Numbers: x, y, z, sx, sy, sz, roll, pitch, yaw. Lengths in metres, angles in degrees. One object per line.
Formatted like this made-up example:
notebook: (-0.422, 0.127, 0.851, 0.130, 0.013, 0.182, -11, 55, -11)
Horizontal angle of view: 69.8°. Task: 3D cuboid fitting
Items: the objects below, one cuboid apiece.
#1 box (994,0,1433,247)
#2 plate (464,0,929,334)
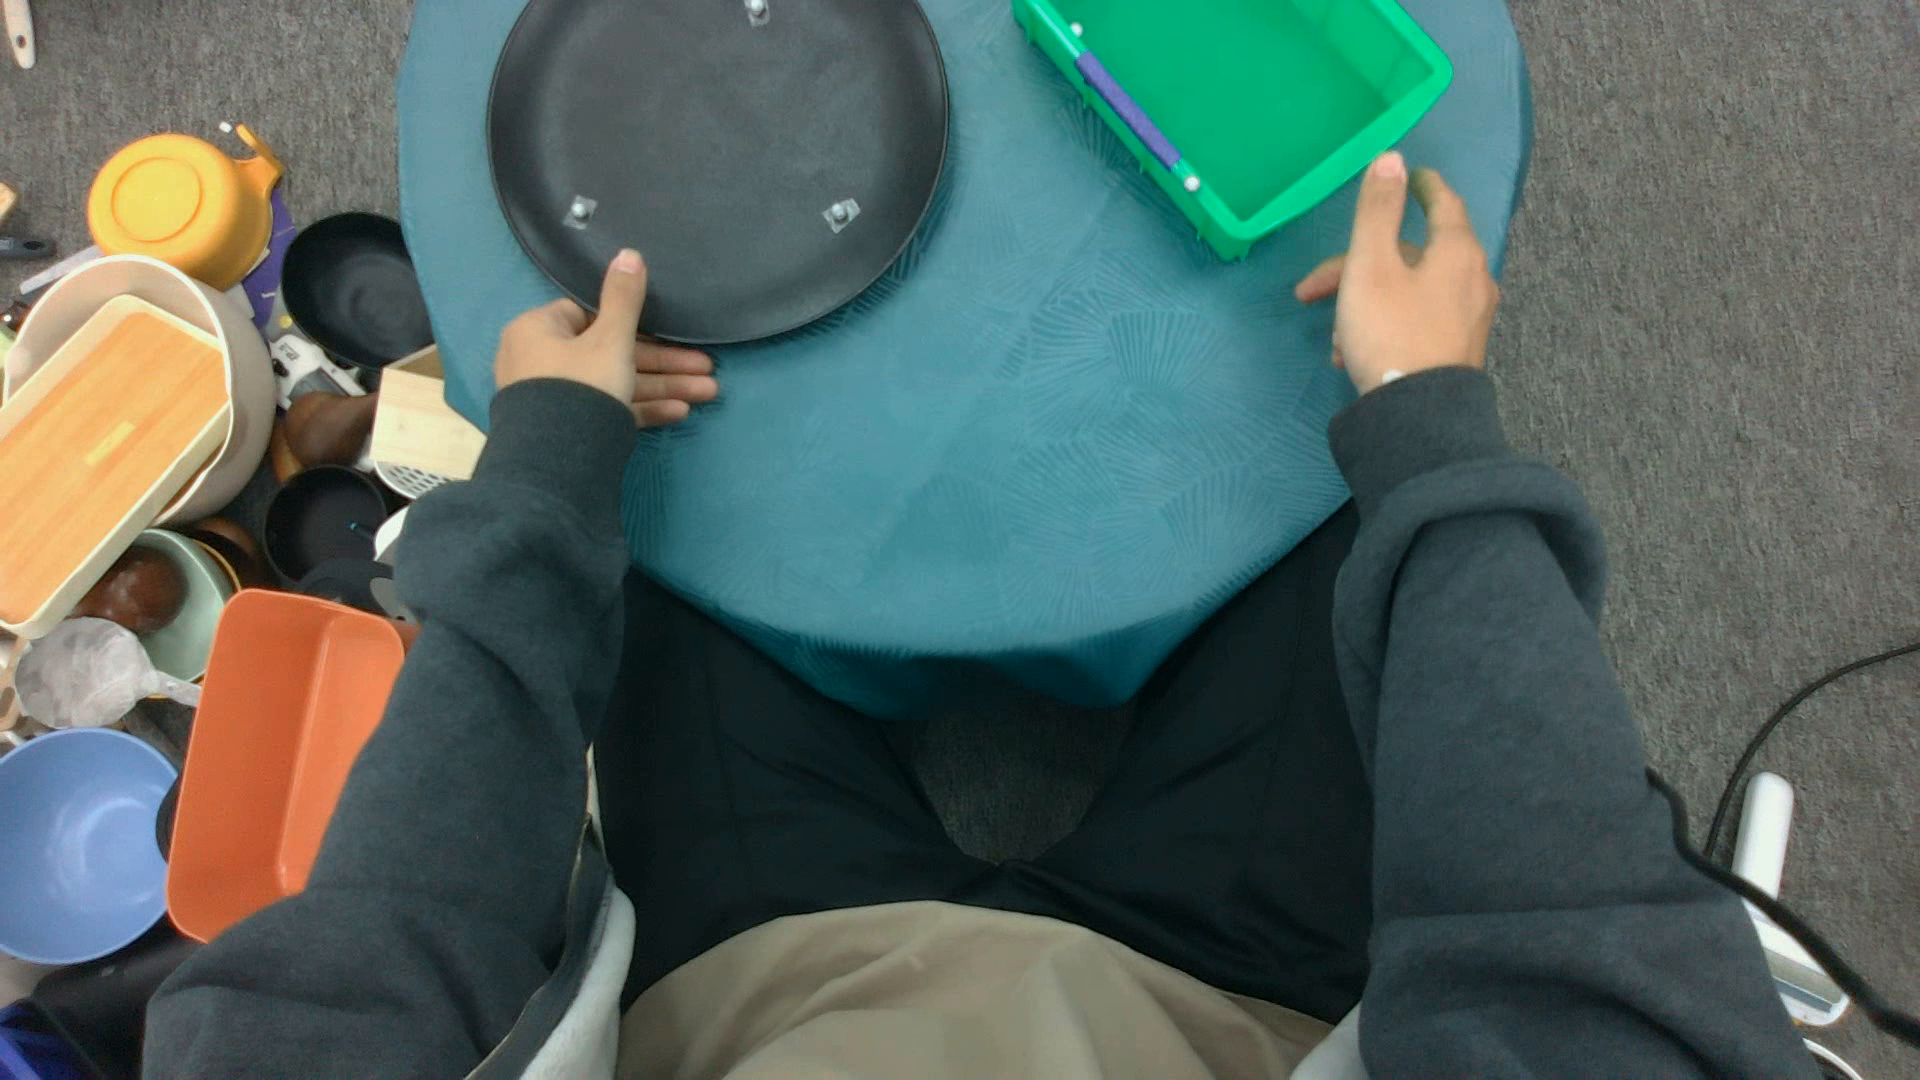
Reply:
box: (0.120, -0.260, 0.703, 0.138, 0.065, 0.210, -40, 85, -2)
plate: (-0.138, -0.224, 0.726, 0.244, 0.023, 0.244, 0, 82, 1)
